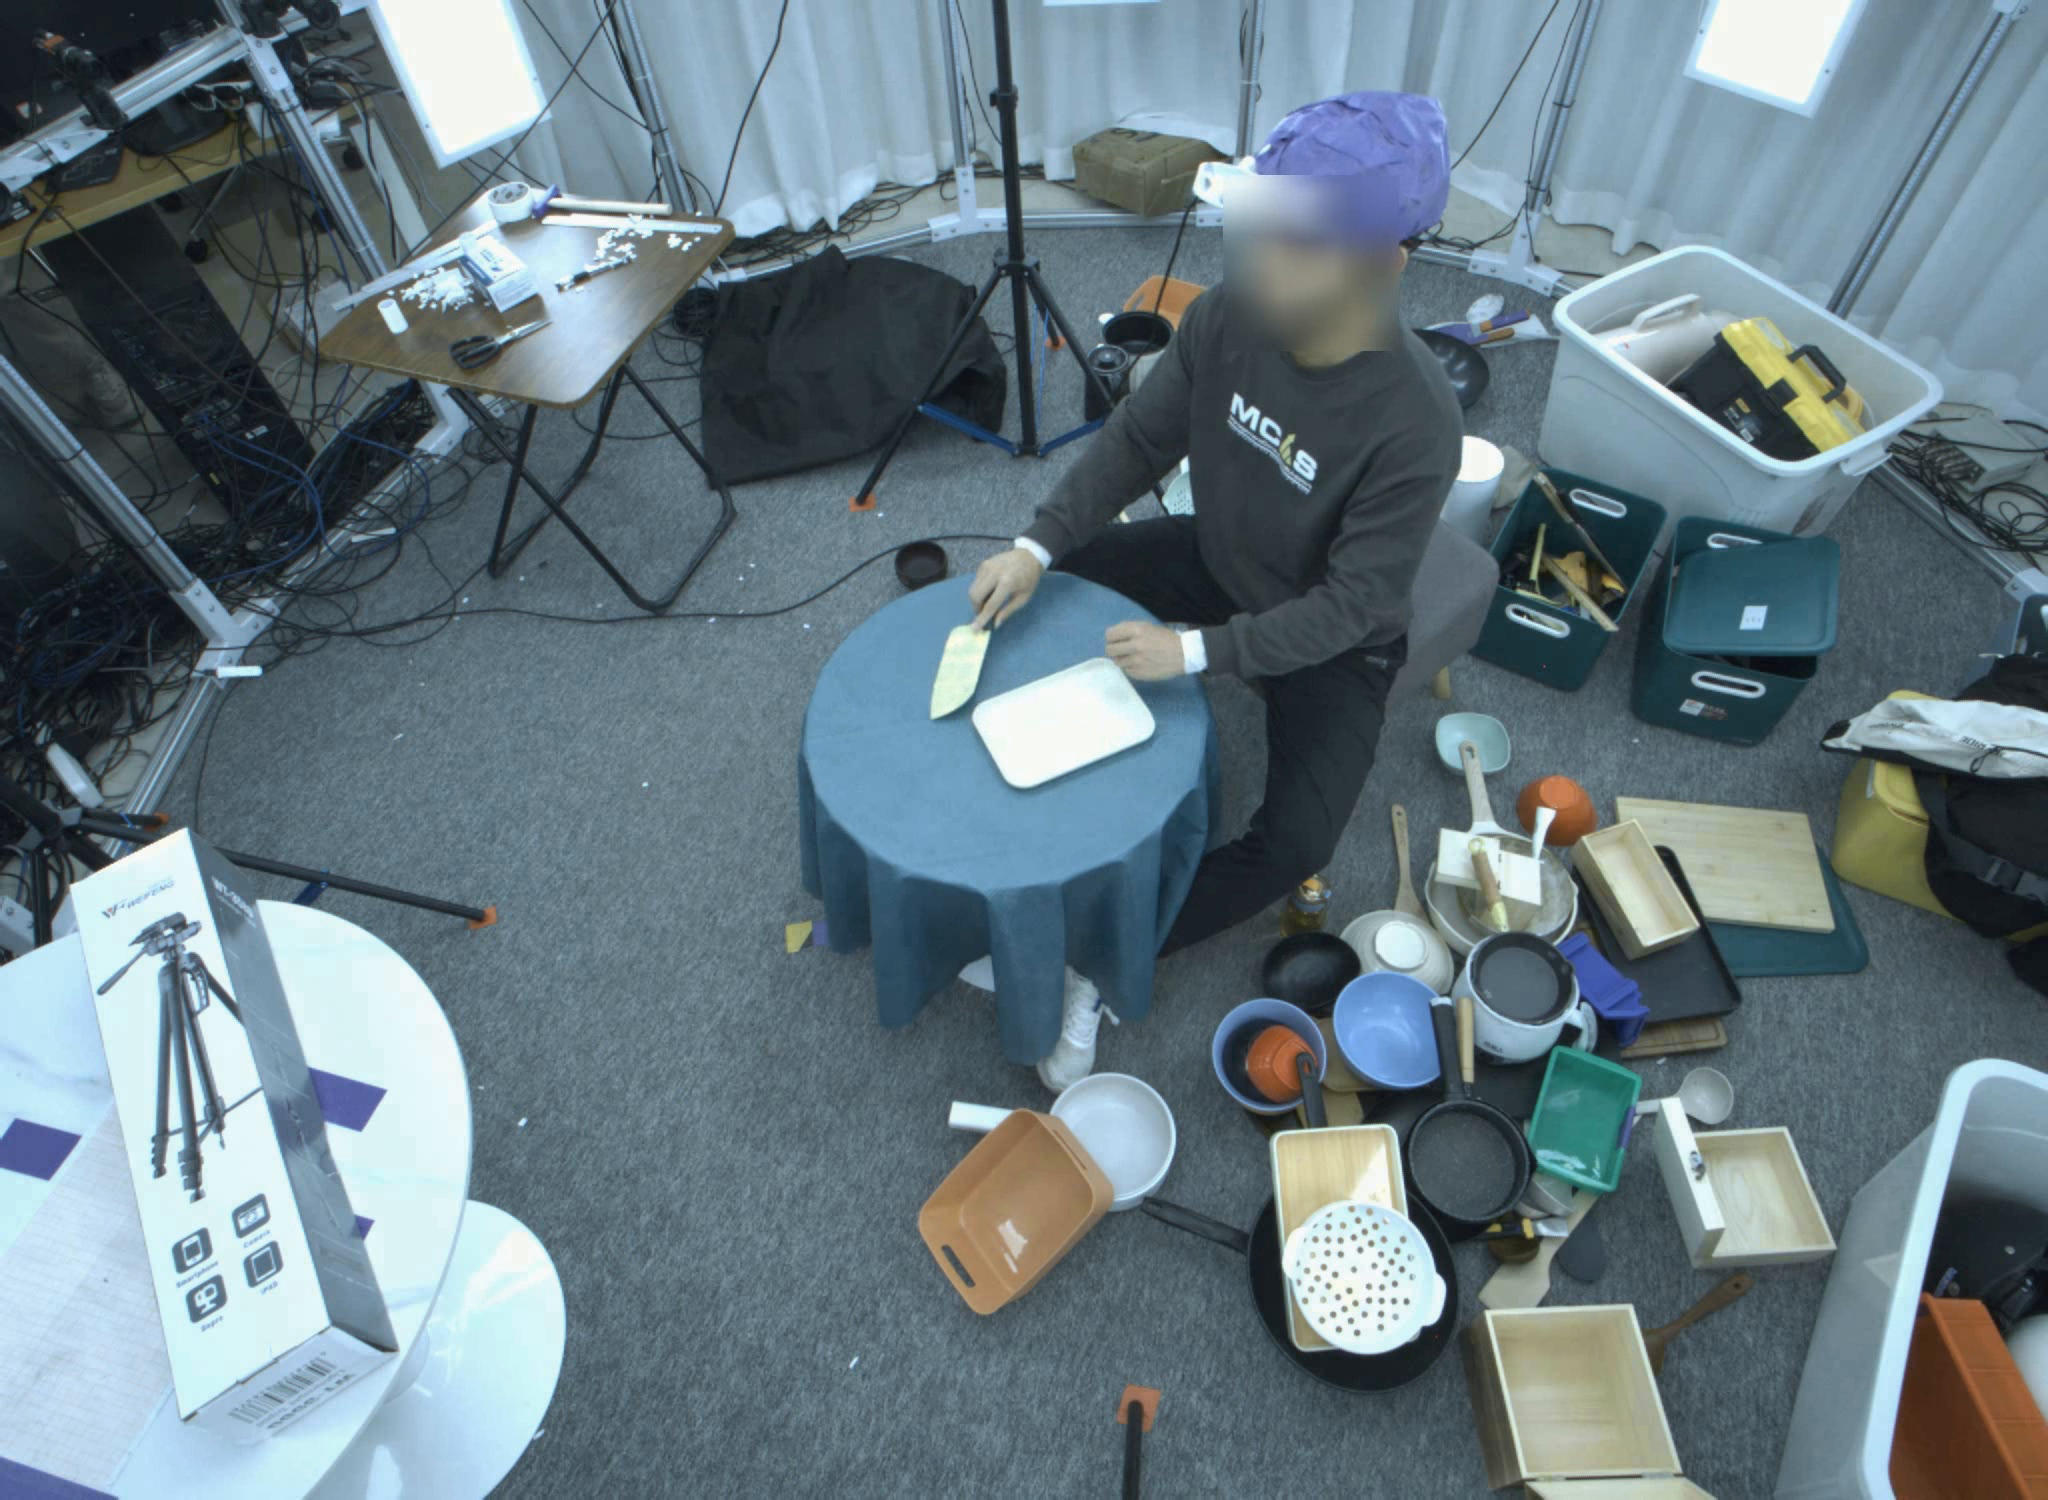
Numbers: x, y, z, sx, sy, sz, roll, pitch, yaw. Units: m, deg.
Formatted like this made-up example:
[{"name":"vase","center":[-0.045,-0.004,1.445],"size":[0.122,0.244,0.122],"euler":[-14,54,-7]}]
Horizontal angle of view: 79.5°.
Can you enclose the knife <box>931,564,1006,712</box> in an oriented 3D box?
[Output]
[{"name":"knife","center":[-0.084,-0.174,1.886],"size":[0.080,0.028,0.288],"euler":[2,56,25]}]

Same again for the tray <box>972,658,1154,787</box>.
[{"name":"tray","center":[0.057,-0.042,1.812],"size":[0.241,0.017,0.168],"euler":[-22,56,-14]}]
